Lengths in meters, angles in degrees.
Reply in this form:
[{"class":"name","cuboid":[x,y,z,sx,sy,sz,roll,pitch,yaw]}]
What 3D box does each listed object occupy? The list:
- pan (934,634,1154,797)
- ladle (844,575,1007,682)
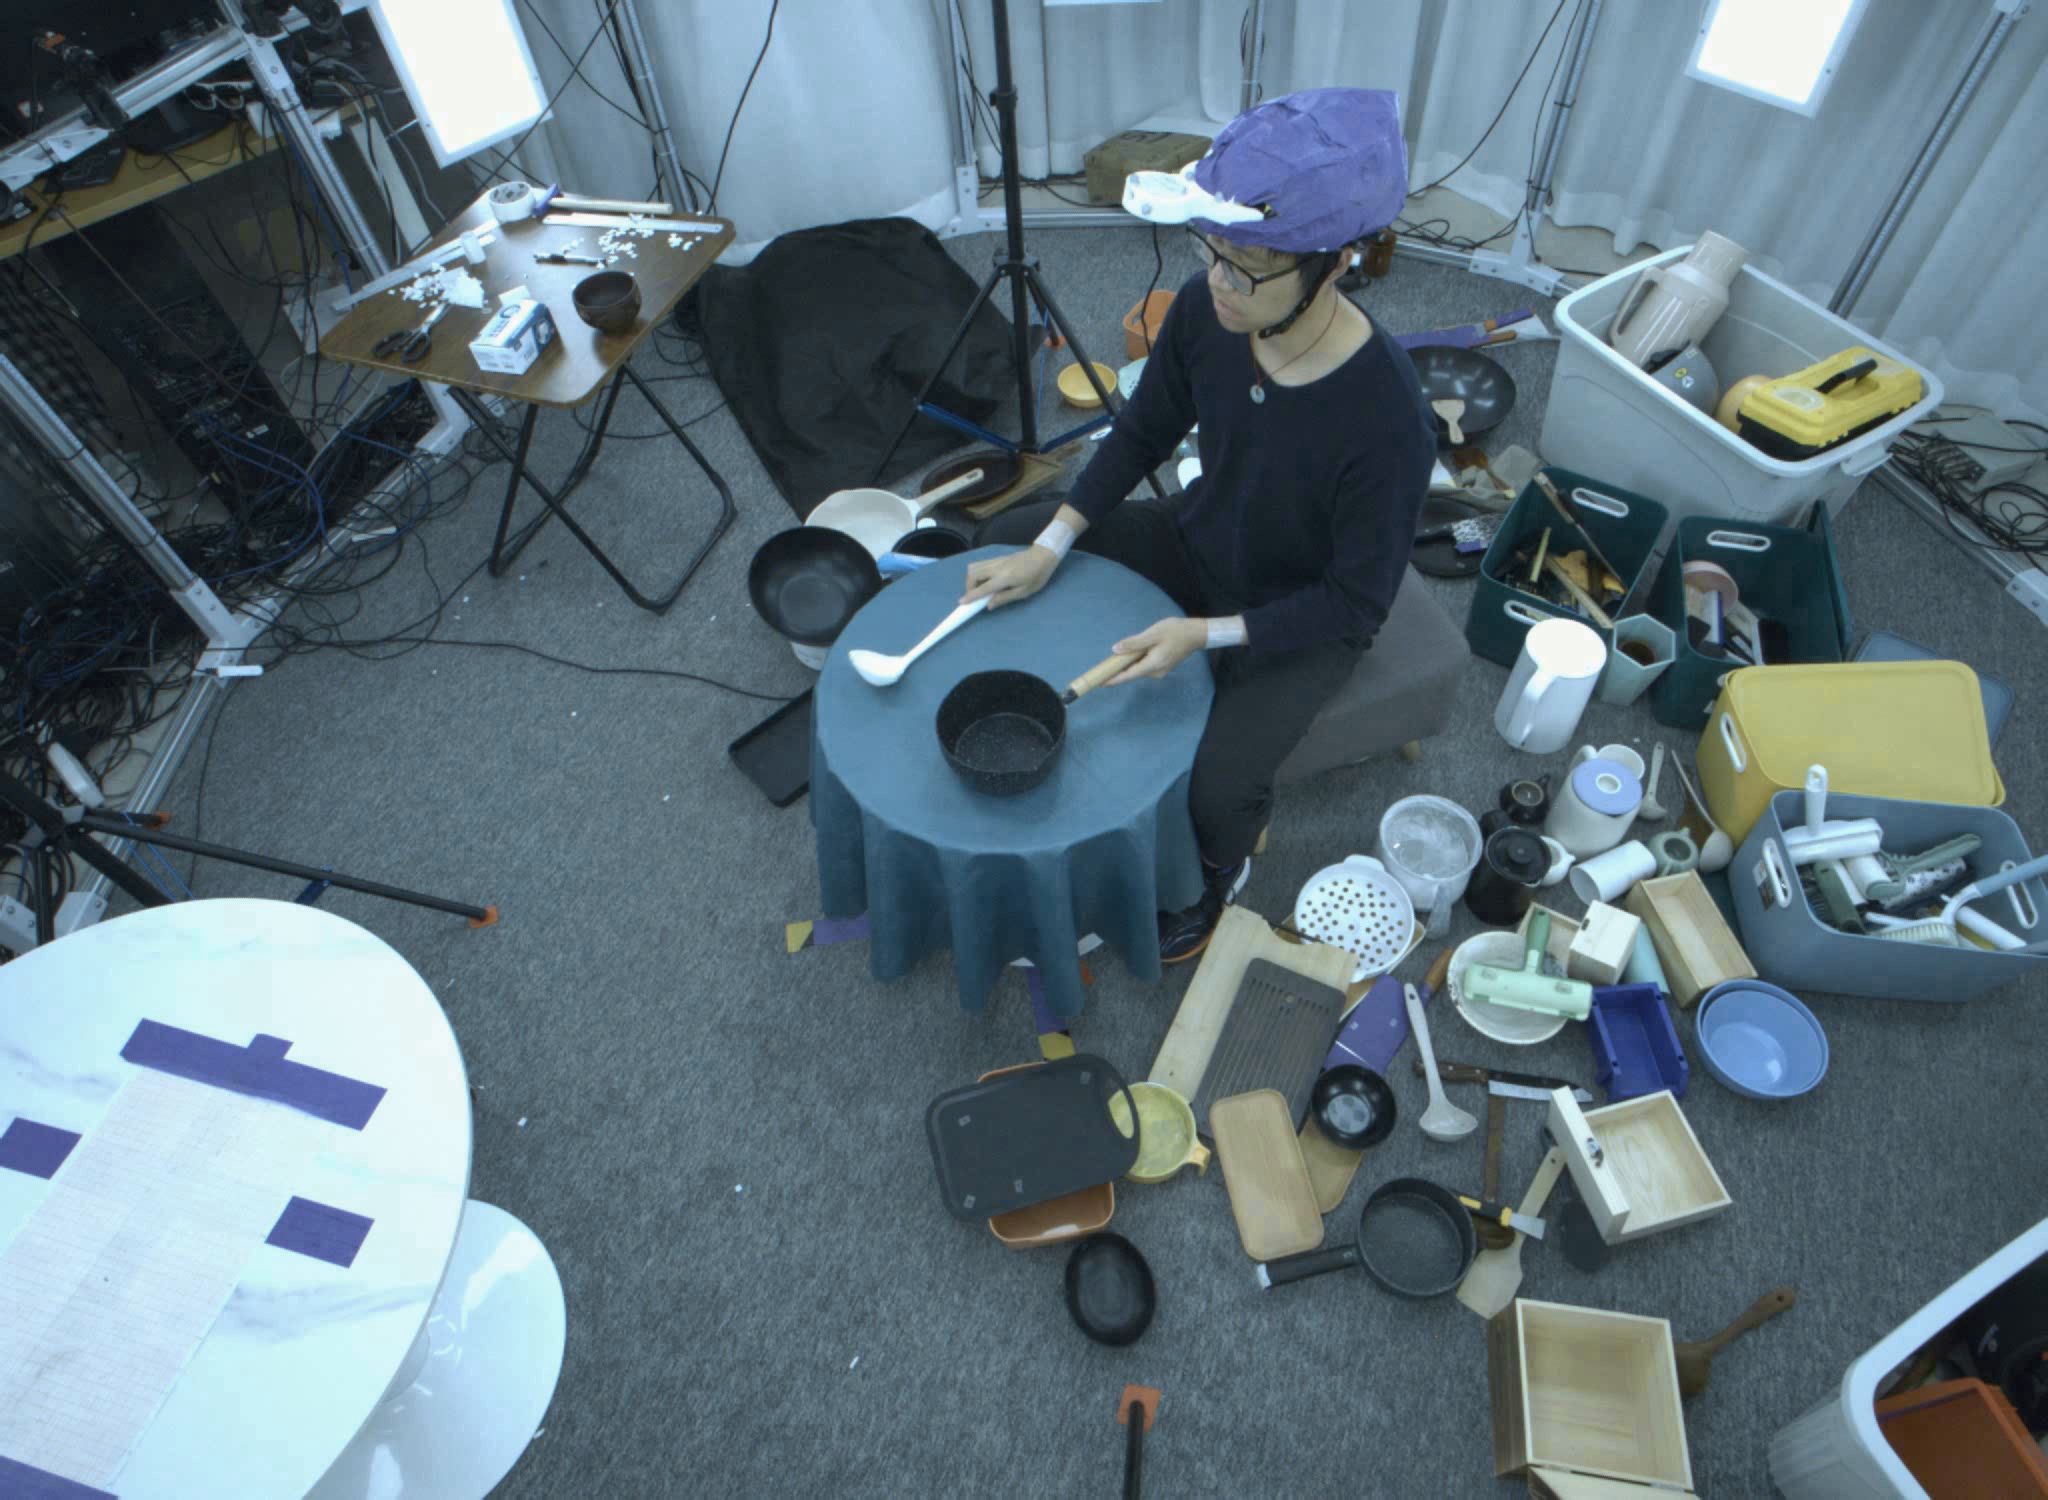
[{"class":"pan","cuboid":[0.037,-0.060,1.762,0.345,0.109,0.203,-28,57,-15]},{"class":"ladle","cuboid":[-0.147,-0.197,1.893,0.295,0.071,0.088,-39,46,-22]}]
